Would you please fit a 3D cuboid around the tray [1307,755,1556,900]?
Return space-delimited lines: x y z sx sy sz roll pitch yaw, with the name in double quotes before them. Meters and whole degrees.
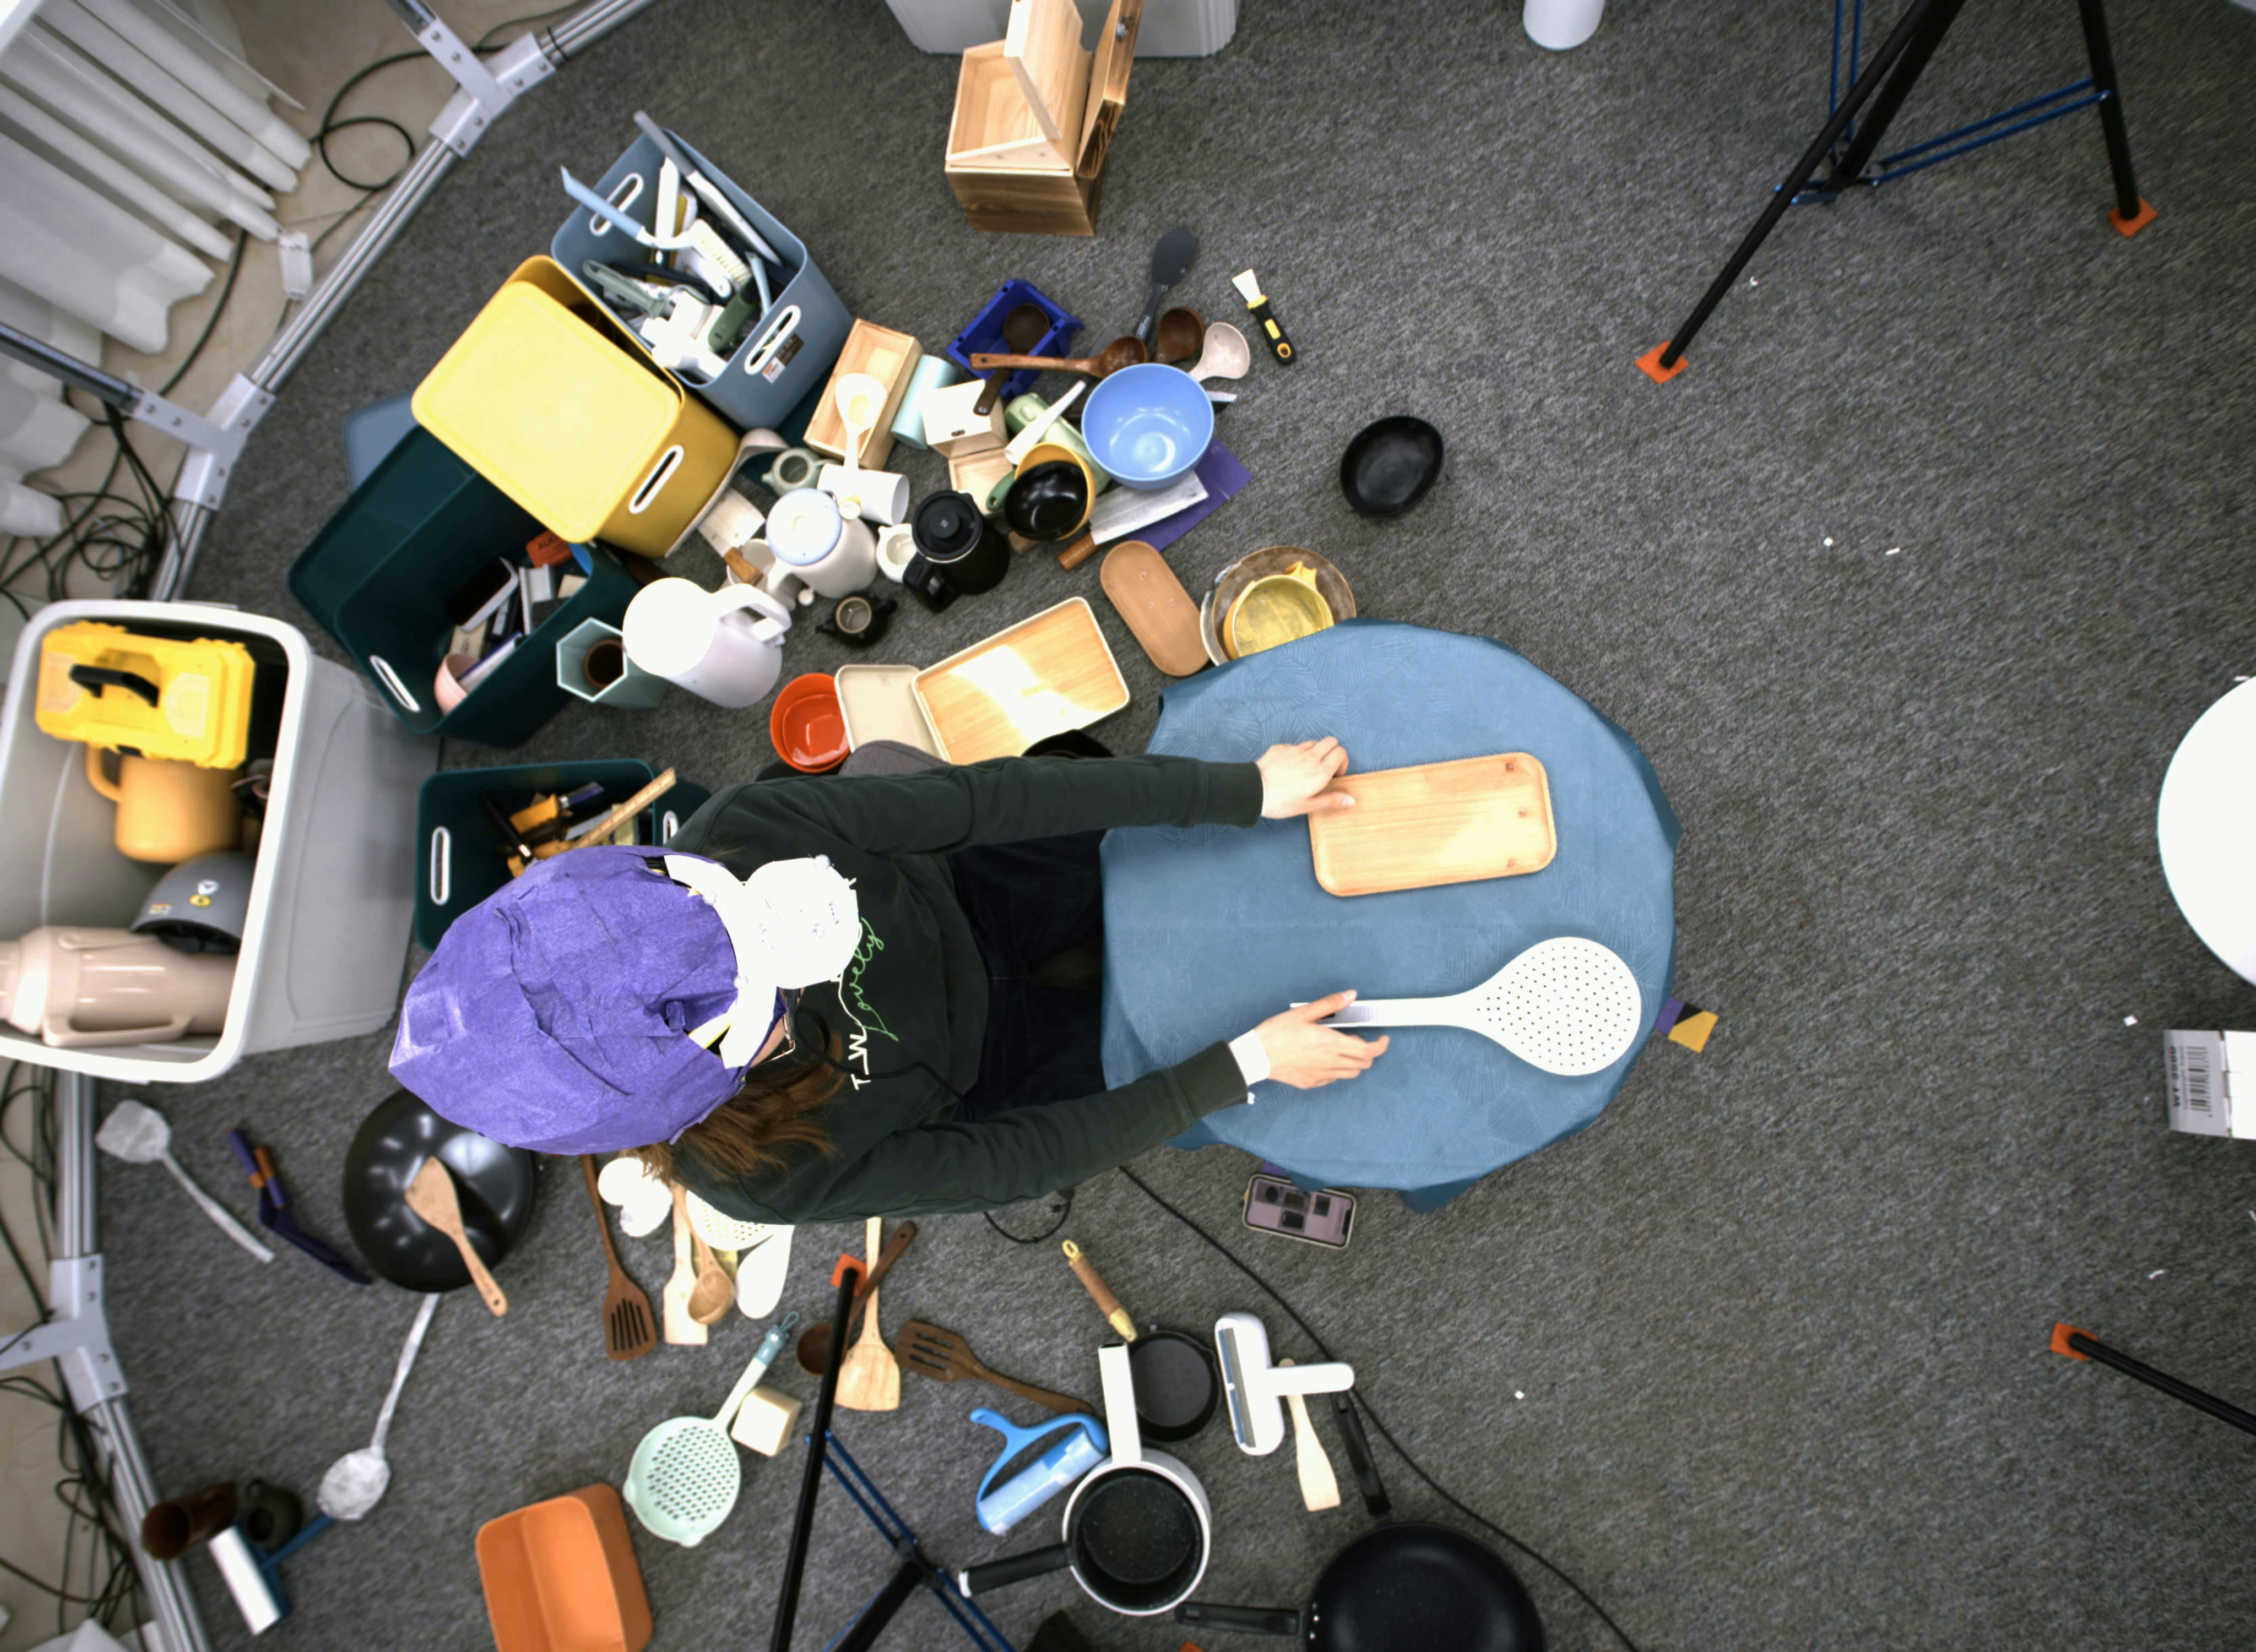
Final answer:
"tray" 0.319 0.001 1.452 0.252 0.023 0.129 -8 83 11

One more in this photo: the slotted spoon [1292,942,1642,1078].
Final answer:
"slotted spoon" 0.343 0.190 1.420 0.351 0.046 0.135 -3 83 11
